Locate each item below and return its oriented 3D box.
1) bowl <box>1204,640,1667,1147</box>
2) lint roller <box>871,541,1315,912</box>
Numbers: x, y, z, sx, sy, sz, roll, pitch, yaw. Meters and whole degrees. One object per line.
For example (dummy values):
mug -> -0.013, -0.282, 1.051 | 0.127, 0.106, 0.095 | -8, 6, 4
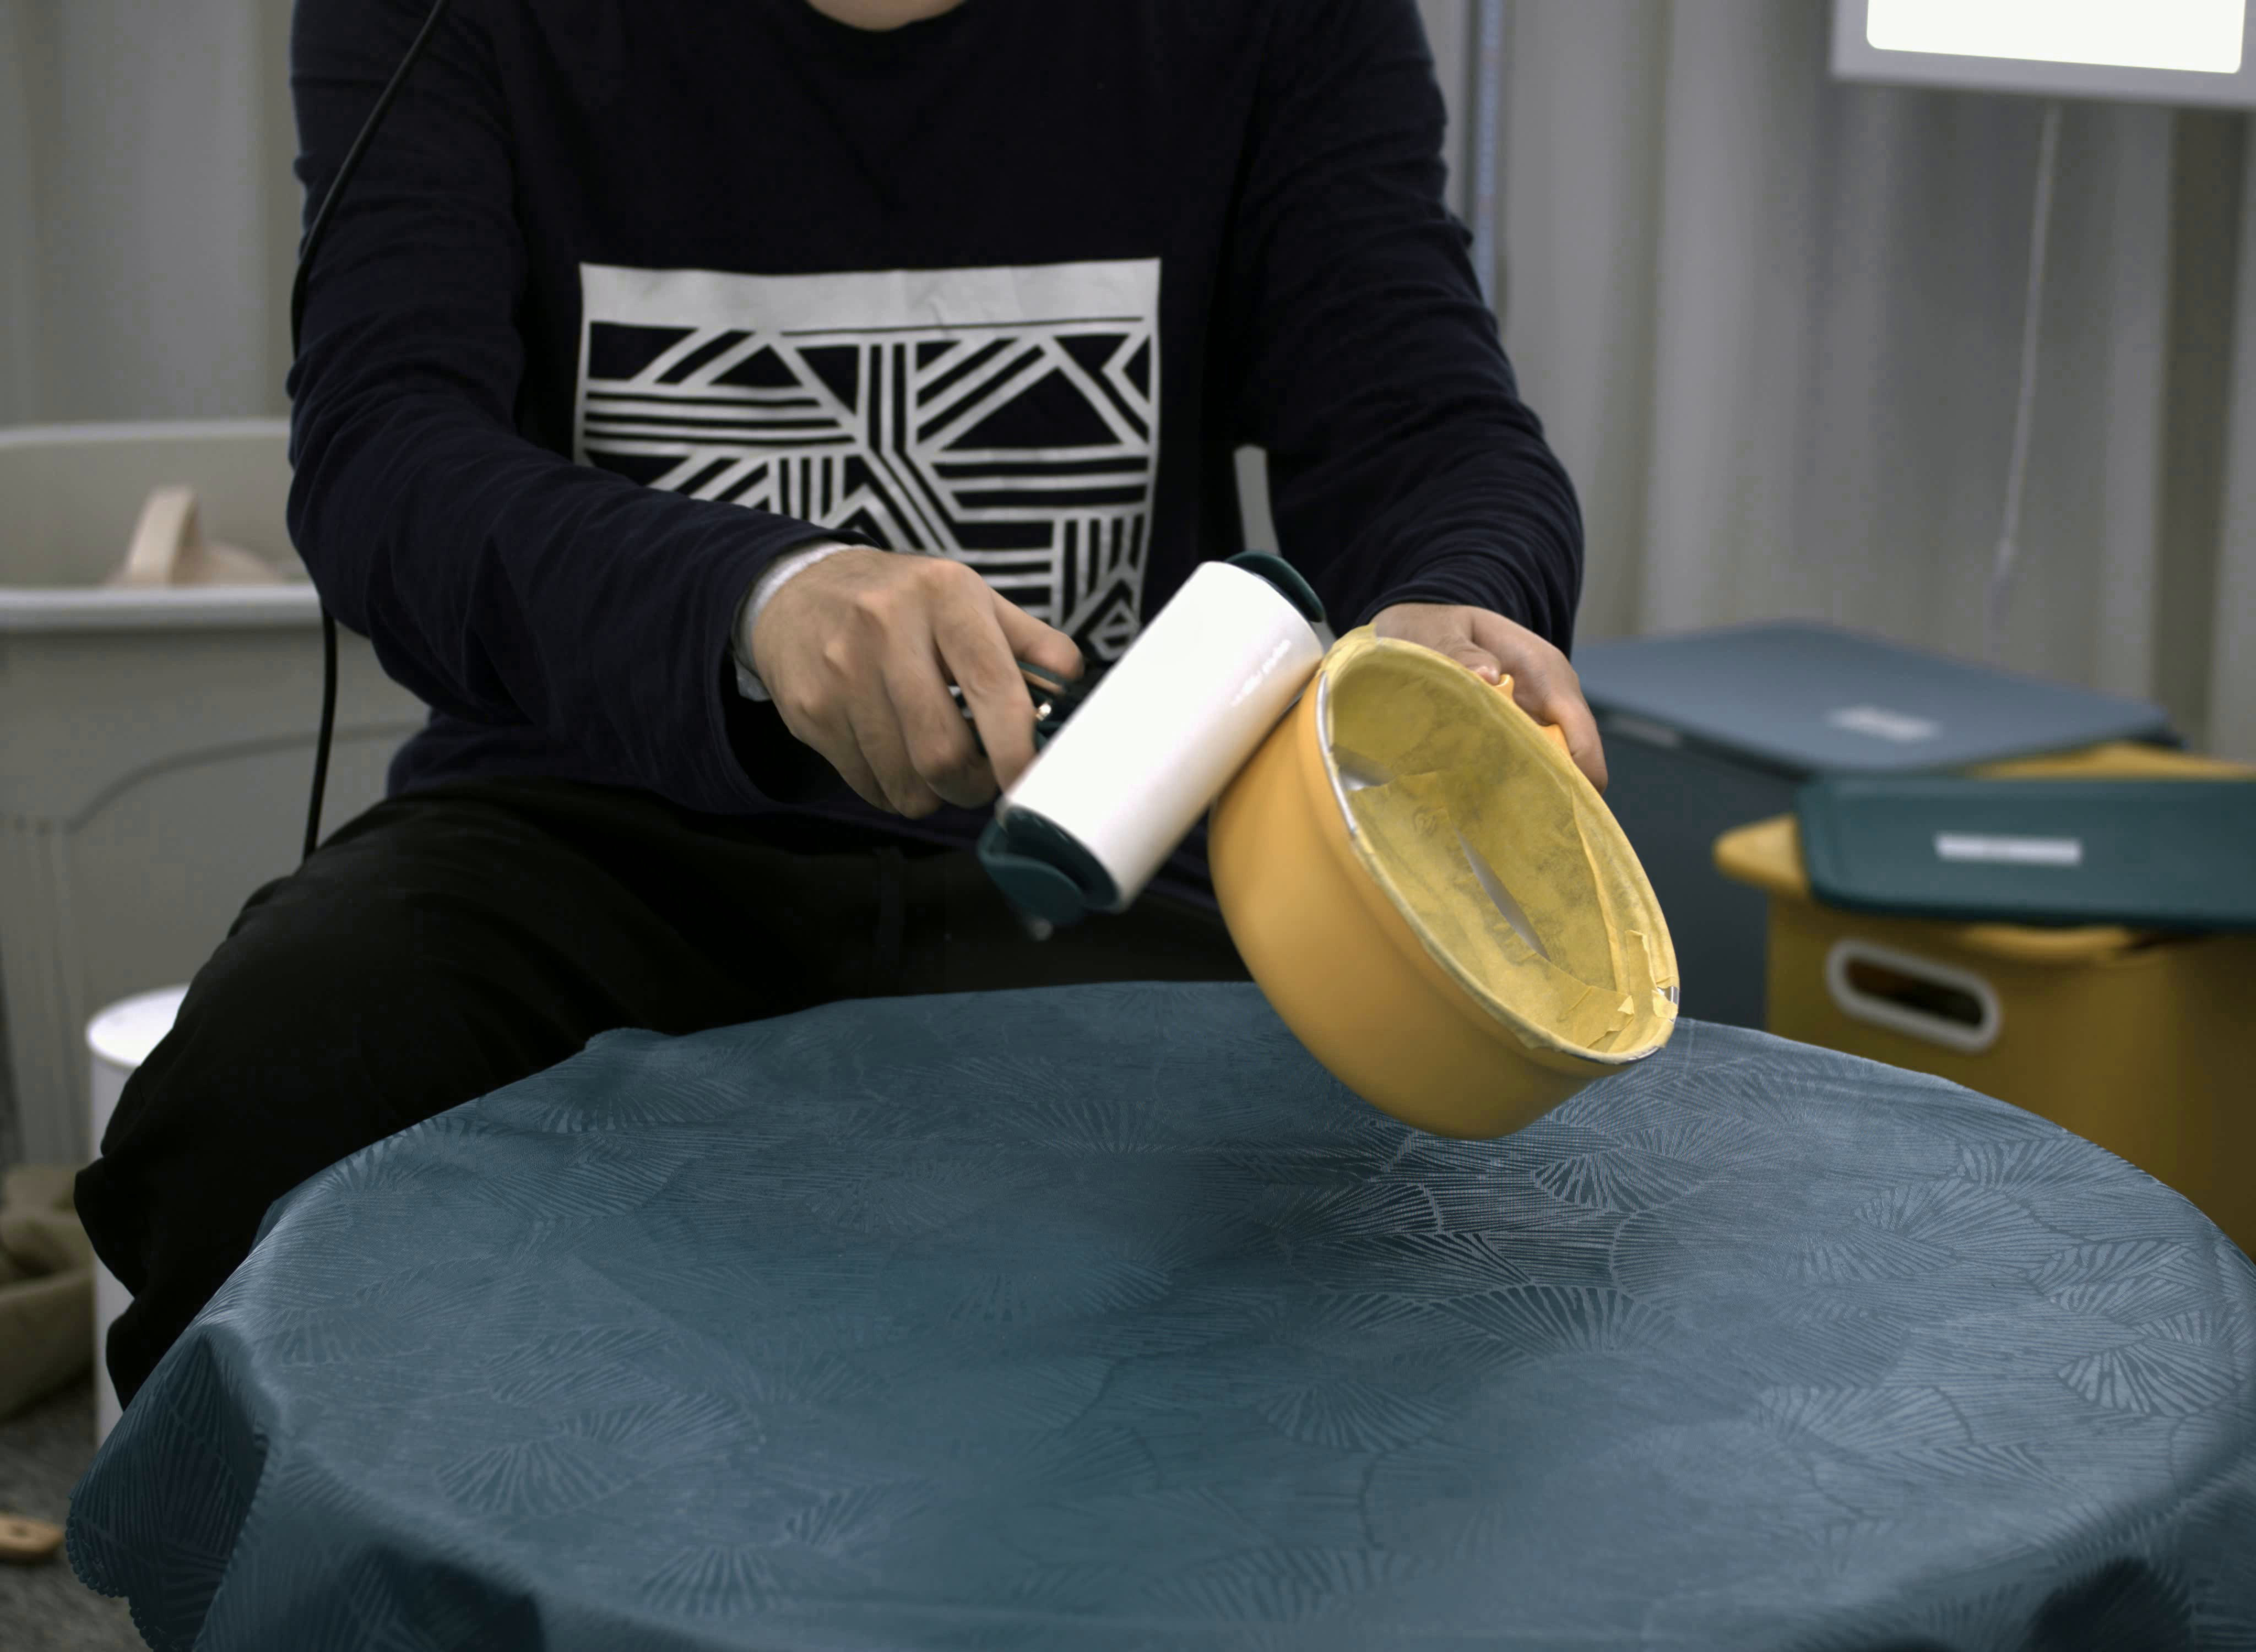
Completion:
bowl -> 0.091, 0.019, 1.592 | 0.154, 0.074, 0.178 | 40, 30, -18
lint roller -> -0.033, -0.038, 1.596 | 0.134, 0.049, 0.178 | -48, 33, -21
